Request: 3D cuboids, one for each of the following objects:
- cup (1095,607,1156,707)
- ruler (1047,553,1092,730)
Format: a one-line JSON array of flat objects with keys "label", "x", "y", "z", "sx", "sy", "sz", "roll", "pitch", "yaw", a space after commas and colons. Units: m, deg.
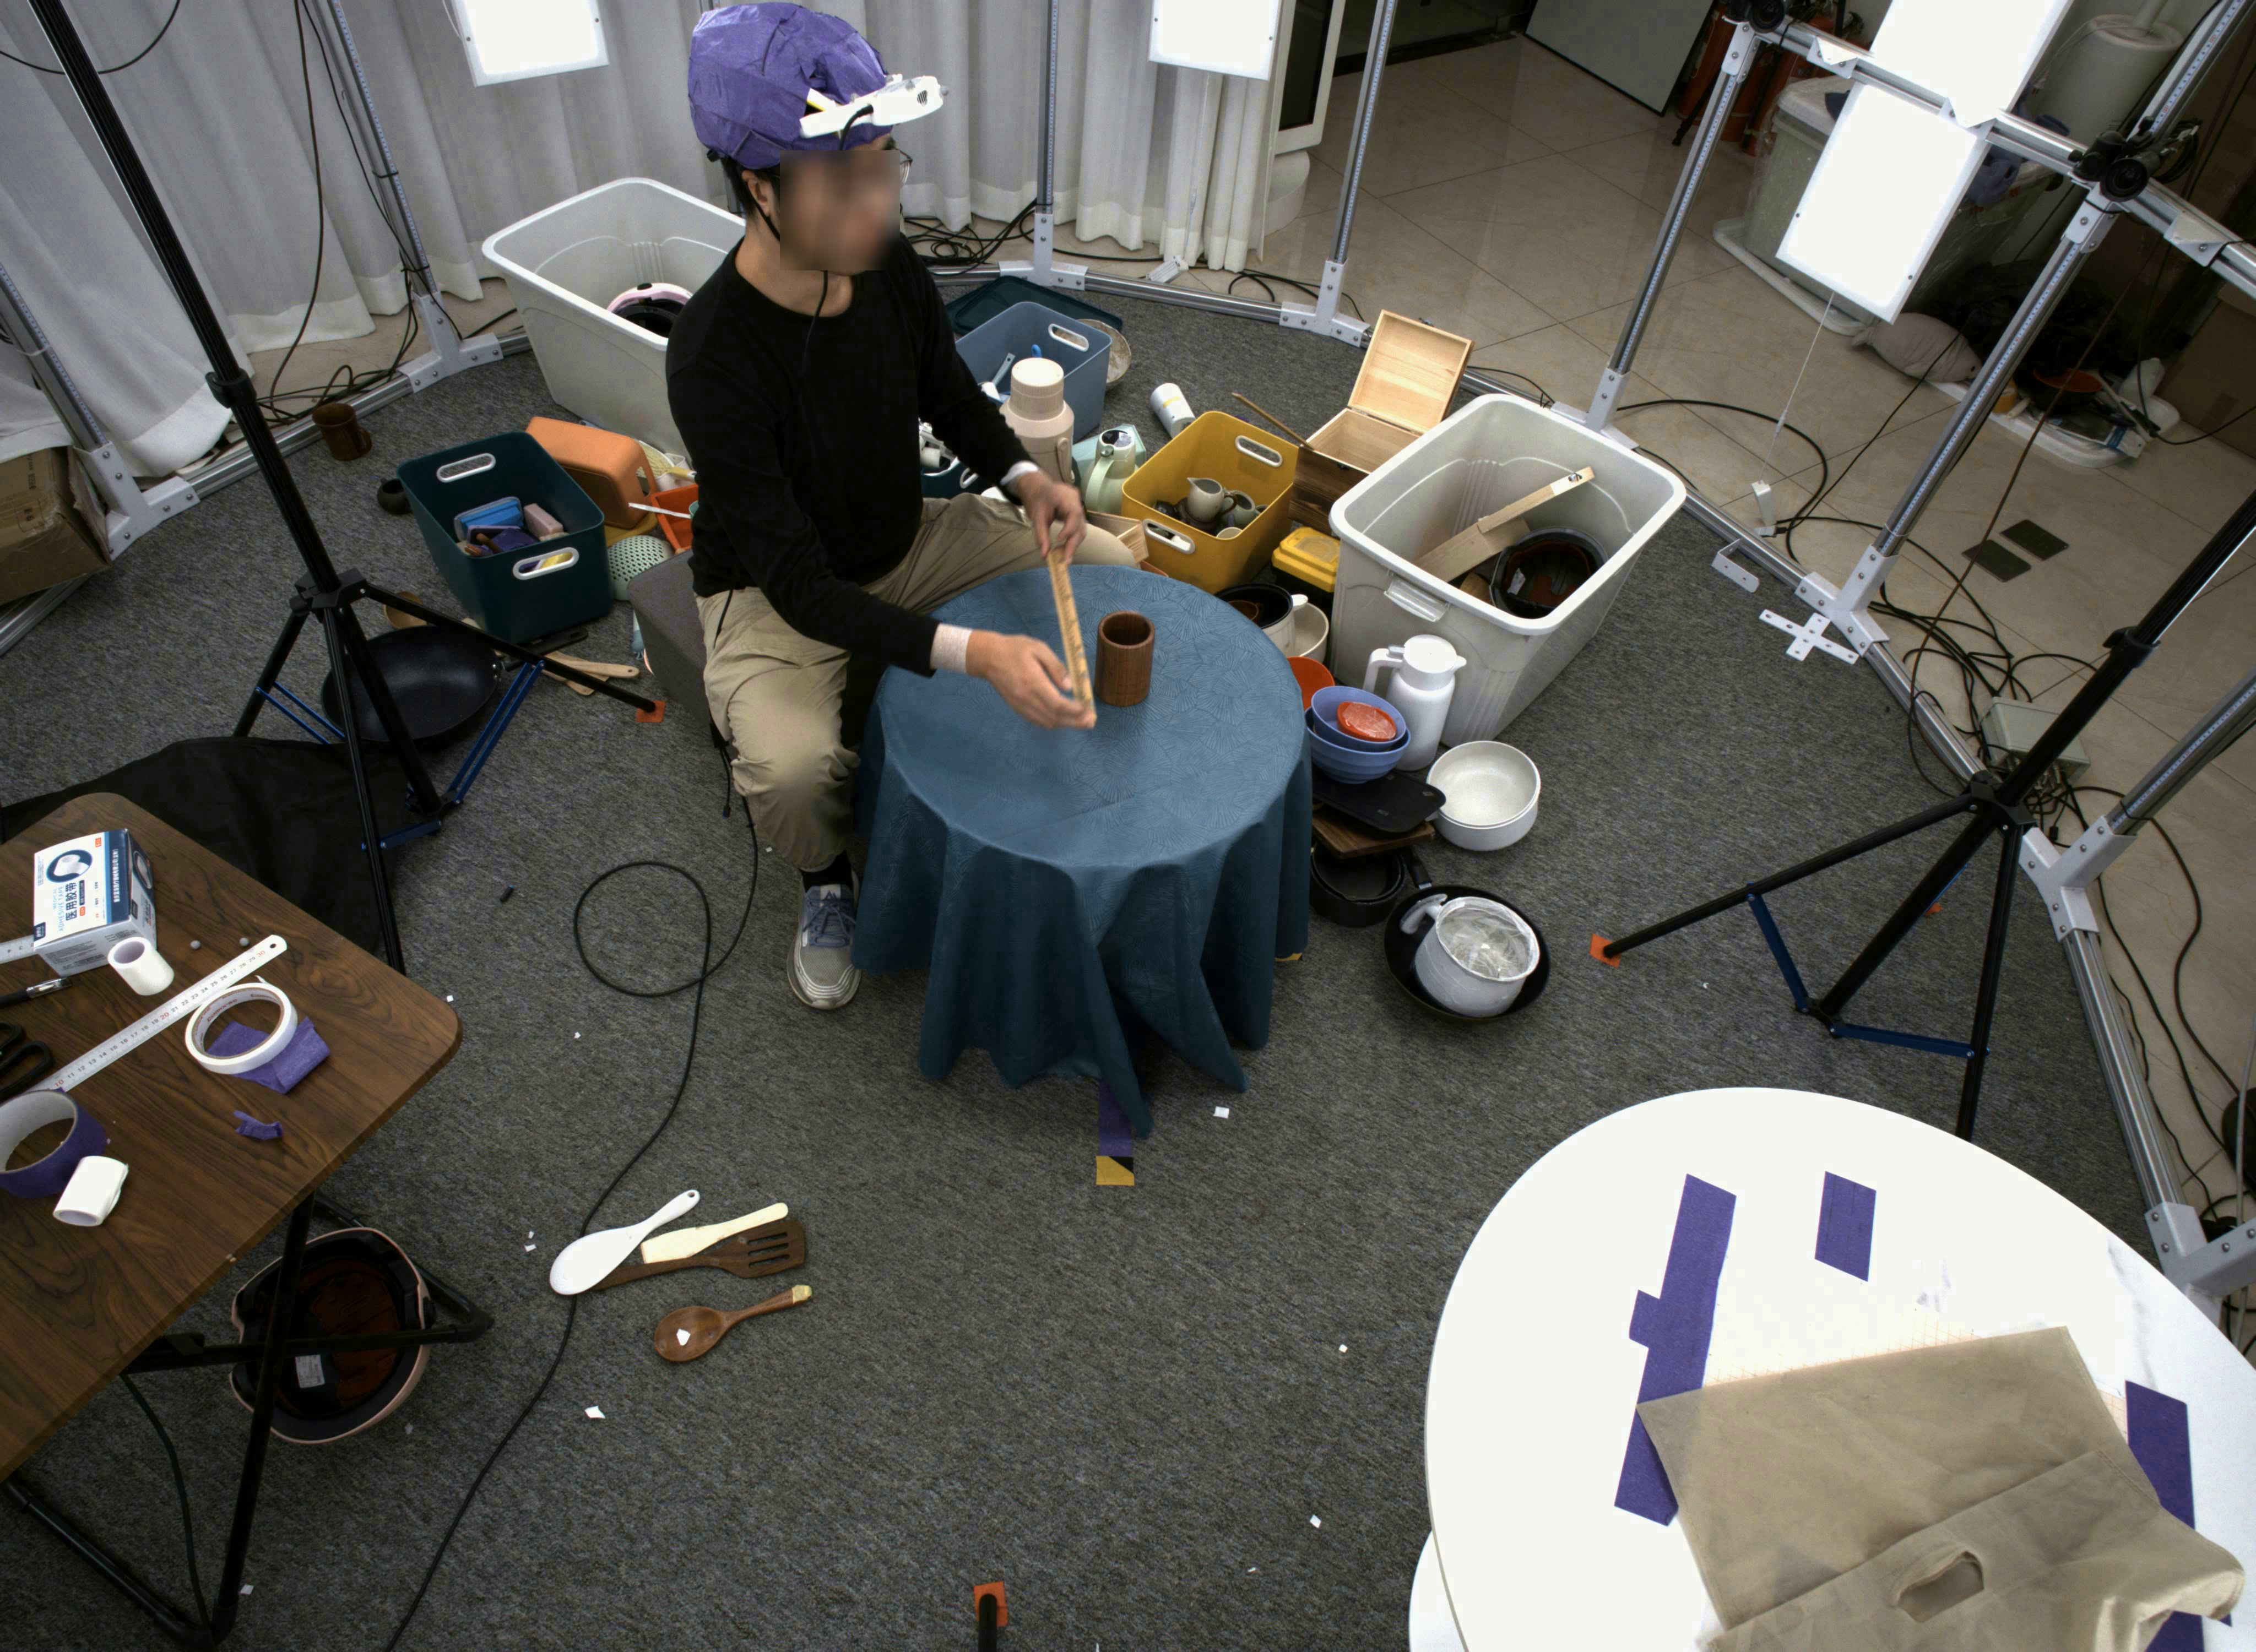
[{"label": "cup", "x": -0.005, "y": -0.236, "z": 1.799, "sx": 0.087, "sy": 0.115, "sz": 0.090, "roll": 2, "pitch": 48, "yaw": -3}, {"label": "ruler", "x": -0.081, "y": -0.257, "z": 1.729, "sx": 0.027, "sy": 0.021, "sz": 0.340, "roll": -5, "pitch": 51, "yaw": -6}]
